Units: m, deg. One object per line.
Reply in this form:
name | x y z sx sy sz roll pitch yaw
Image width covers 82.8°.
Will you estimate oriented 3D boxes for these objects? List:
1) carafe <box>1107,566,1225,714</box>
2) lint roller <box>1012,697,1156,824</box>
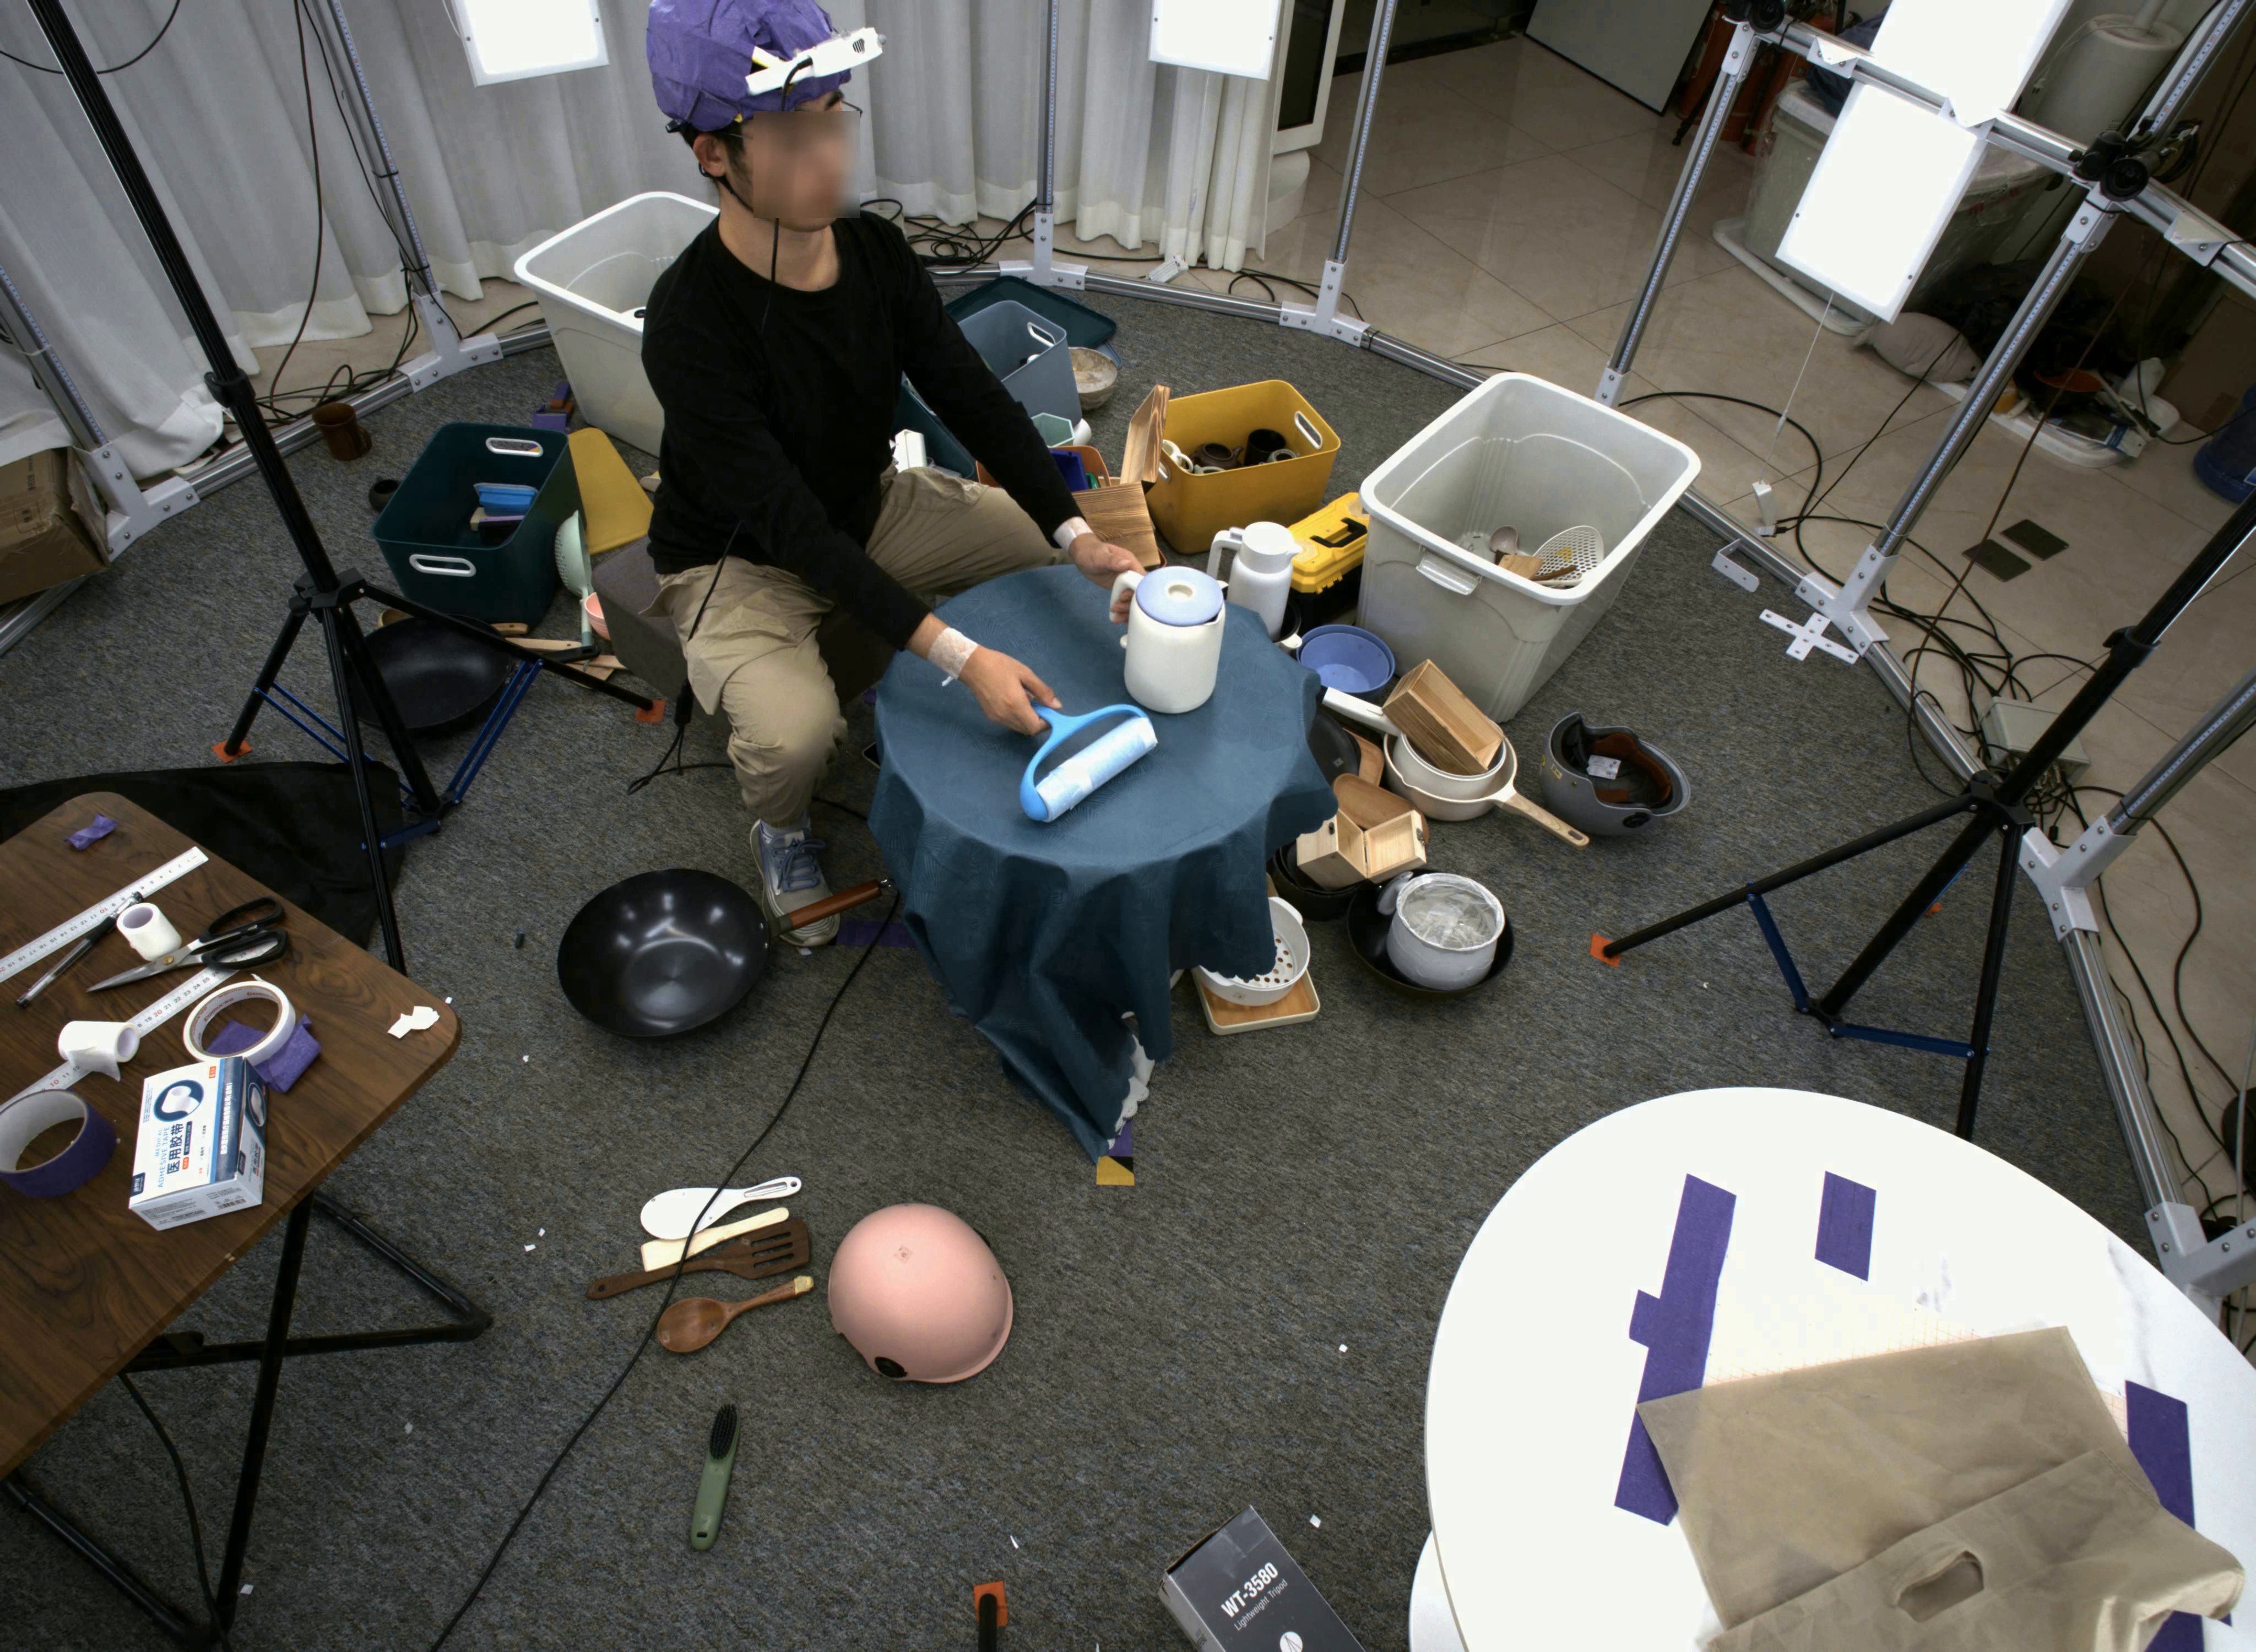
carafe | 0.046 -0.271 1.798 0.194 0.178 0.133 34 55 26
lint roller | -0.090 -0.118 1.715 0.182 0.066 0.231 45 62 13
